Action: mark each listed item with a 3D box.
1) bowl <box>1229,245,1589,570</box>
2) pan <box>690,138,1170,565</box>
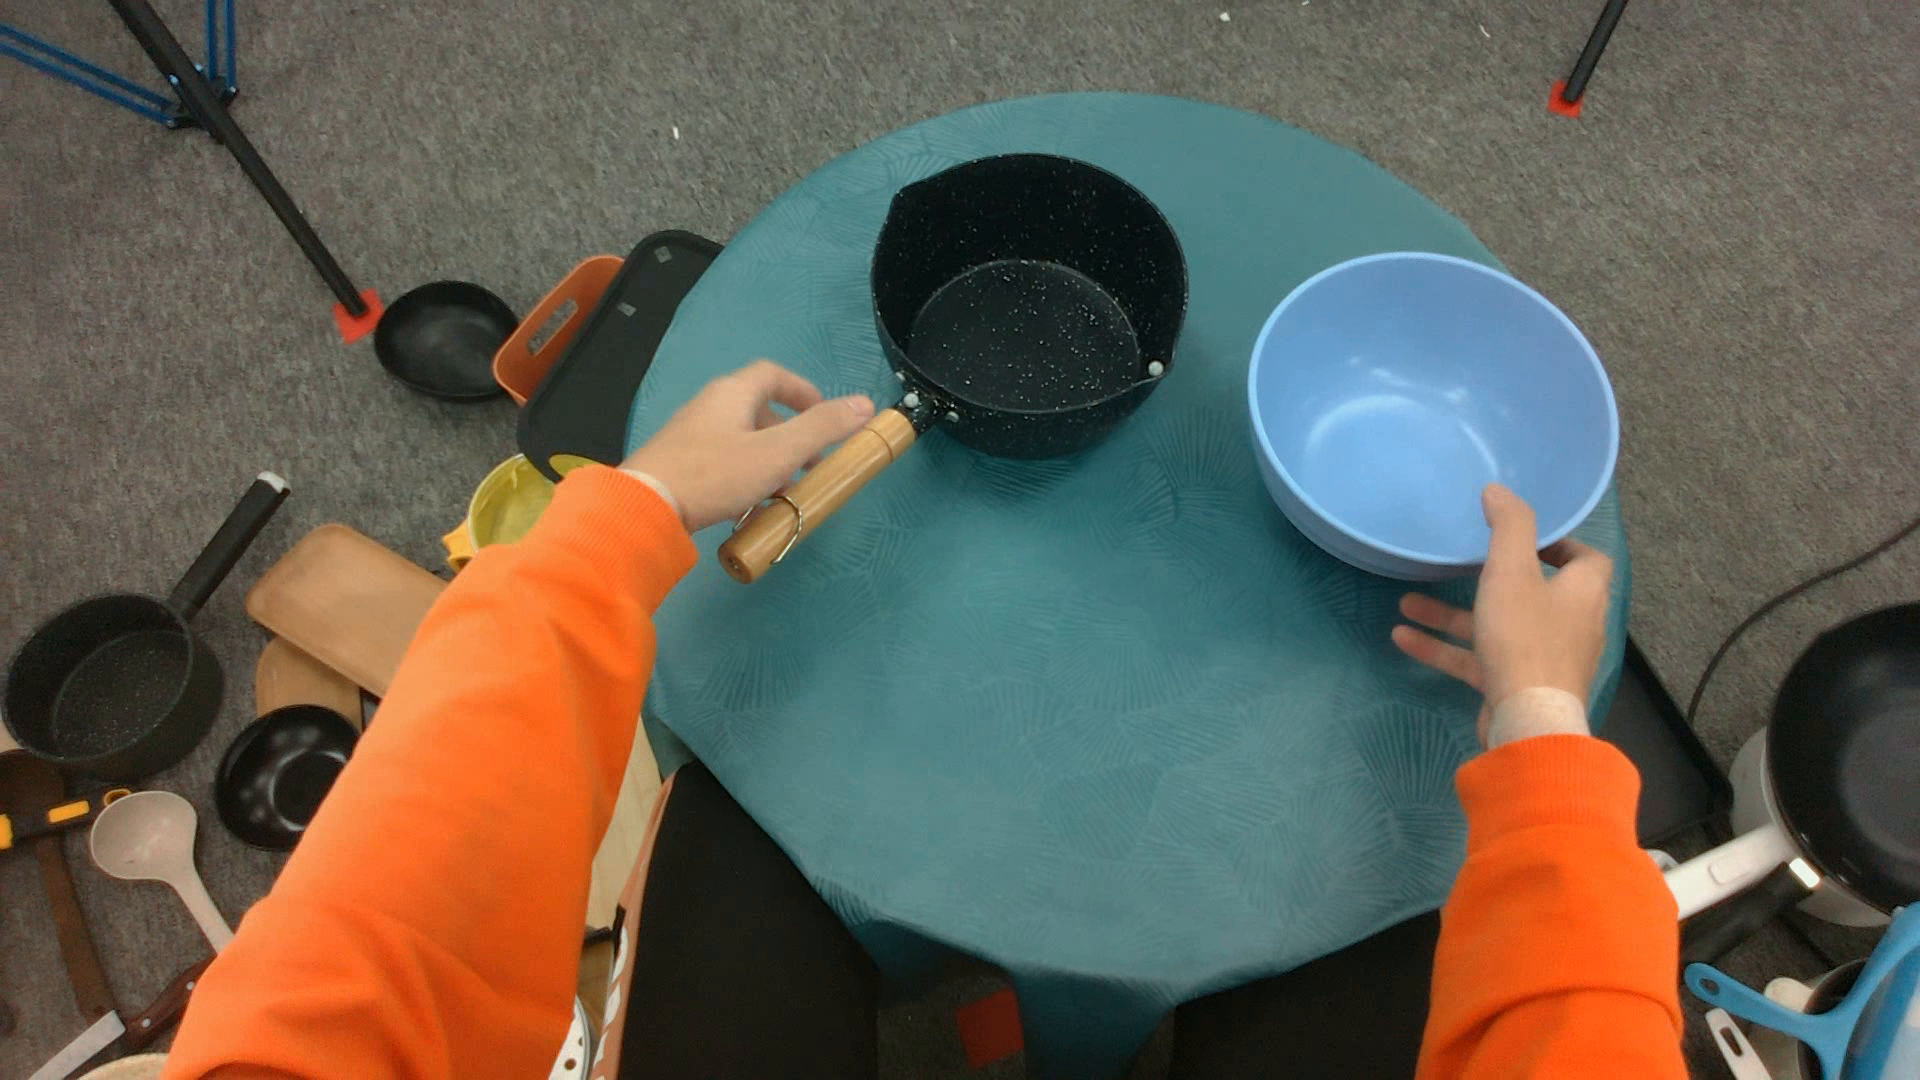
[{"bbox_3d":[0.242,-0.062,0.789,0.196,0.095,0.197,1,63,-2],"label":"bowl"},{"bbox_3d":[-0.021,-0.090,0.789,0.207,0.108,0.344,36,67,14],"label":"pan"}]
